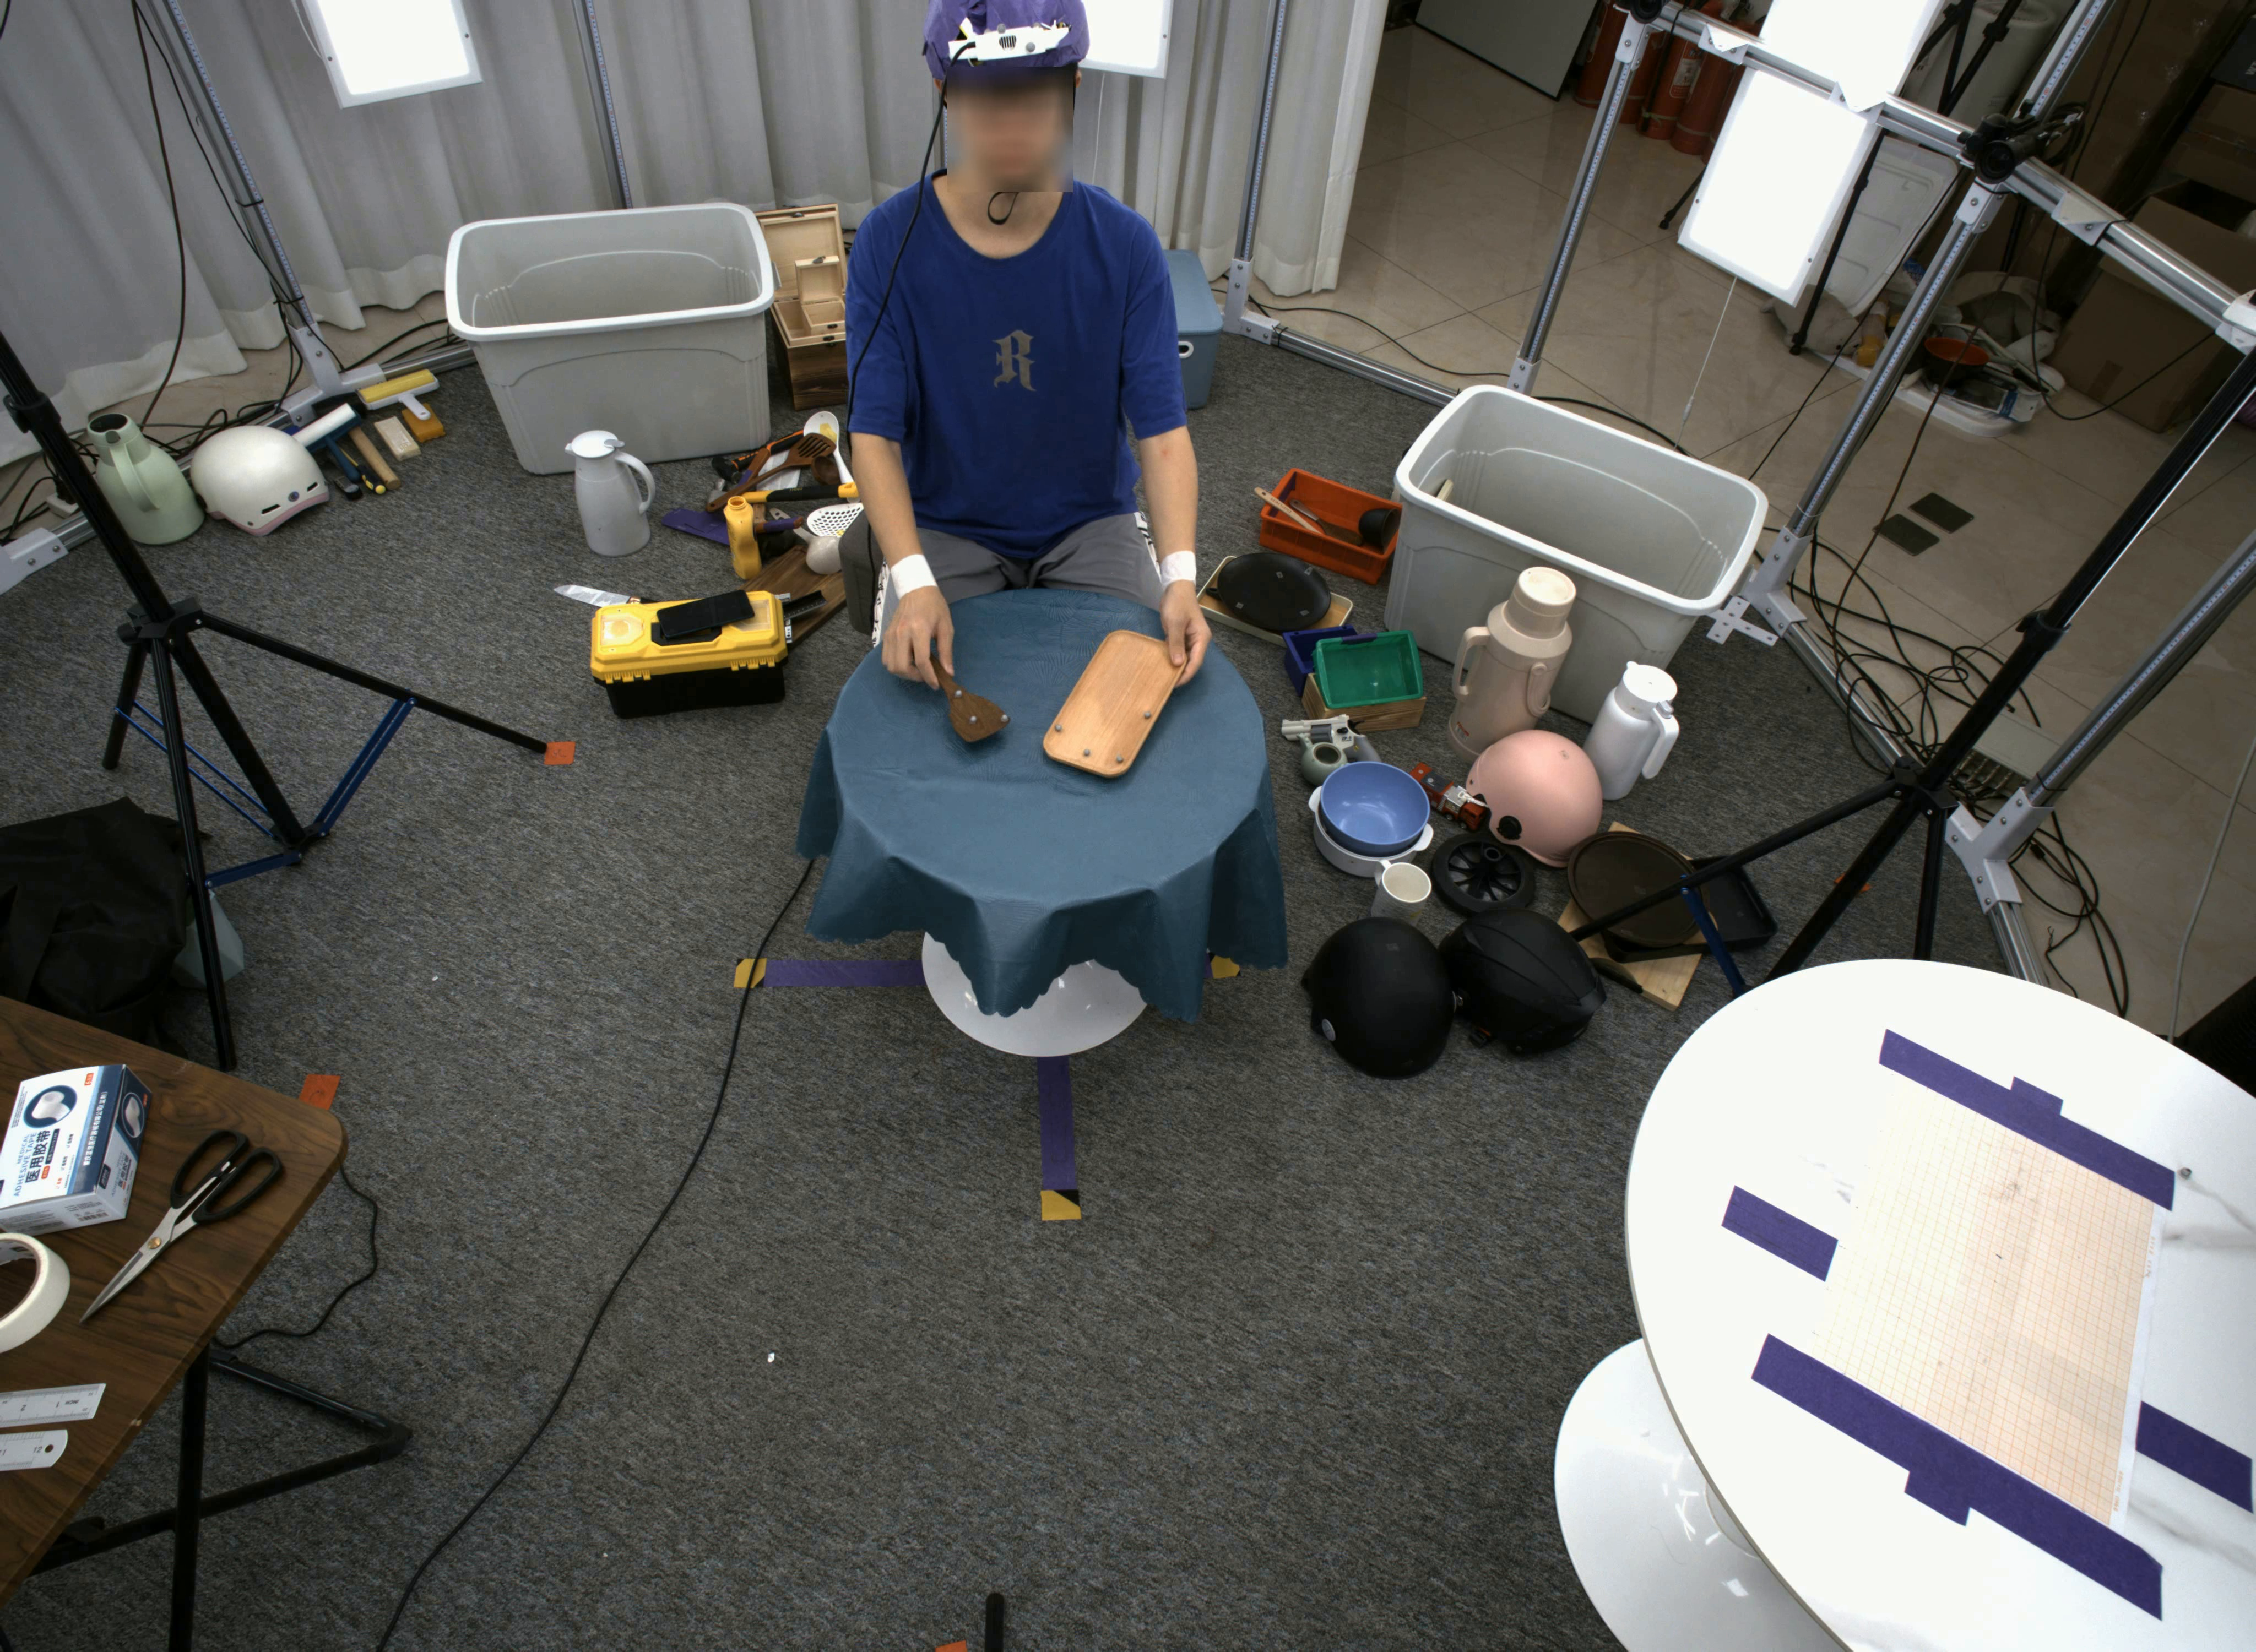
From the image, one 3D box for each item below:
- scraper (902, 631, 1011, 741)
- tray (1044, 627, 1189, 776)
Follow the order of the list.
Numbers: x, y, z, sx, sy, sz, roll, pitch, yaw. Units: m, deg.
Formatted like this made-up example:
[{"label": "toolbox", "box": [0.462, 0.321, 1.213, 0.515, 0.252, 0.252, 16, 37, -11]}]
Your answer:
[{"label": "scraper", "box": [-0.247, -0.198, 1.780, 0.076, 0.010, 0.215, -29, 63, -25]}, {"label": "tray", "box": [-0.014, -0.176, 1.790, 0.131, 0.022, 0.255, 21, 58, 15]}]
